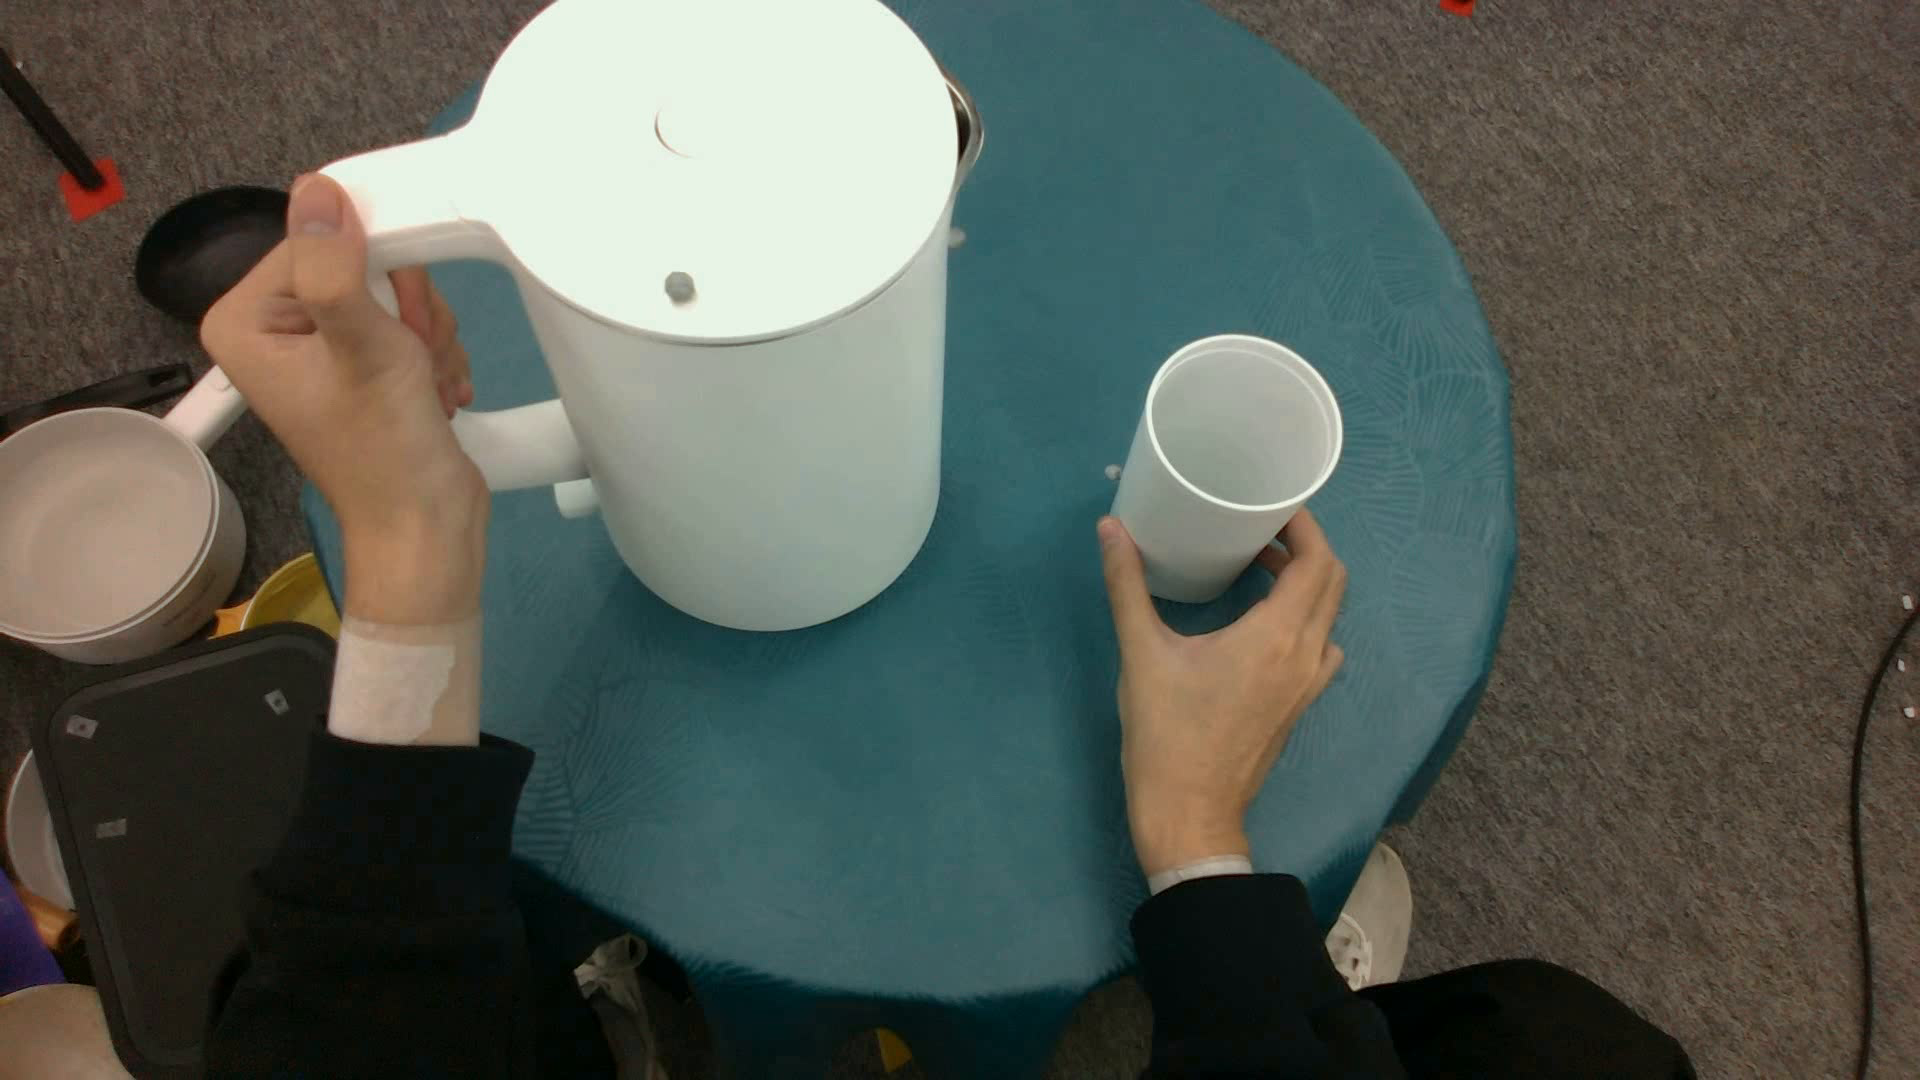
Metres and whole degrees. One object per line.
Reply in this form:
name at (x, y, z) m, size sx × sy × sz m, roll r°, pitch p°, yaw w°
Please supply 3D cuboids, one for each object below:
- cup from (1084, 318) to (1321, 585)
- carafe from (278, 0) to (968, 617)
cup at (0.101, -0.033, 0.618) m, size 0.082 × 0.125 × 0.082 m, roll 2°, pitch 68°, yaw -6°
carafe at (-0.111, -0.078, 0.514) m, size 0.213 × 0.239 × 0.152 m, roll -11°, pitch 67°, yaw -11°
